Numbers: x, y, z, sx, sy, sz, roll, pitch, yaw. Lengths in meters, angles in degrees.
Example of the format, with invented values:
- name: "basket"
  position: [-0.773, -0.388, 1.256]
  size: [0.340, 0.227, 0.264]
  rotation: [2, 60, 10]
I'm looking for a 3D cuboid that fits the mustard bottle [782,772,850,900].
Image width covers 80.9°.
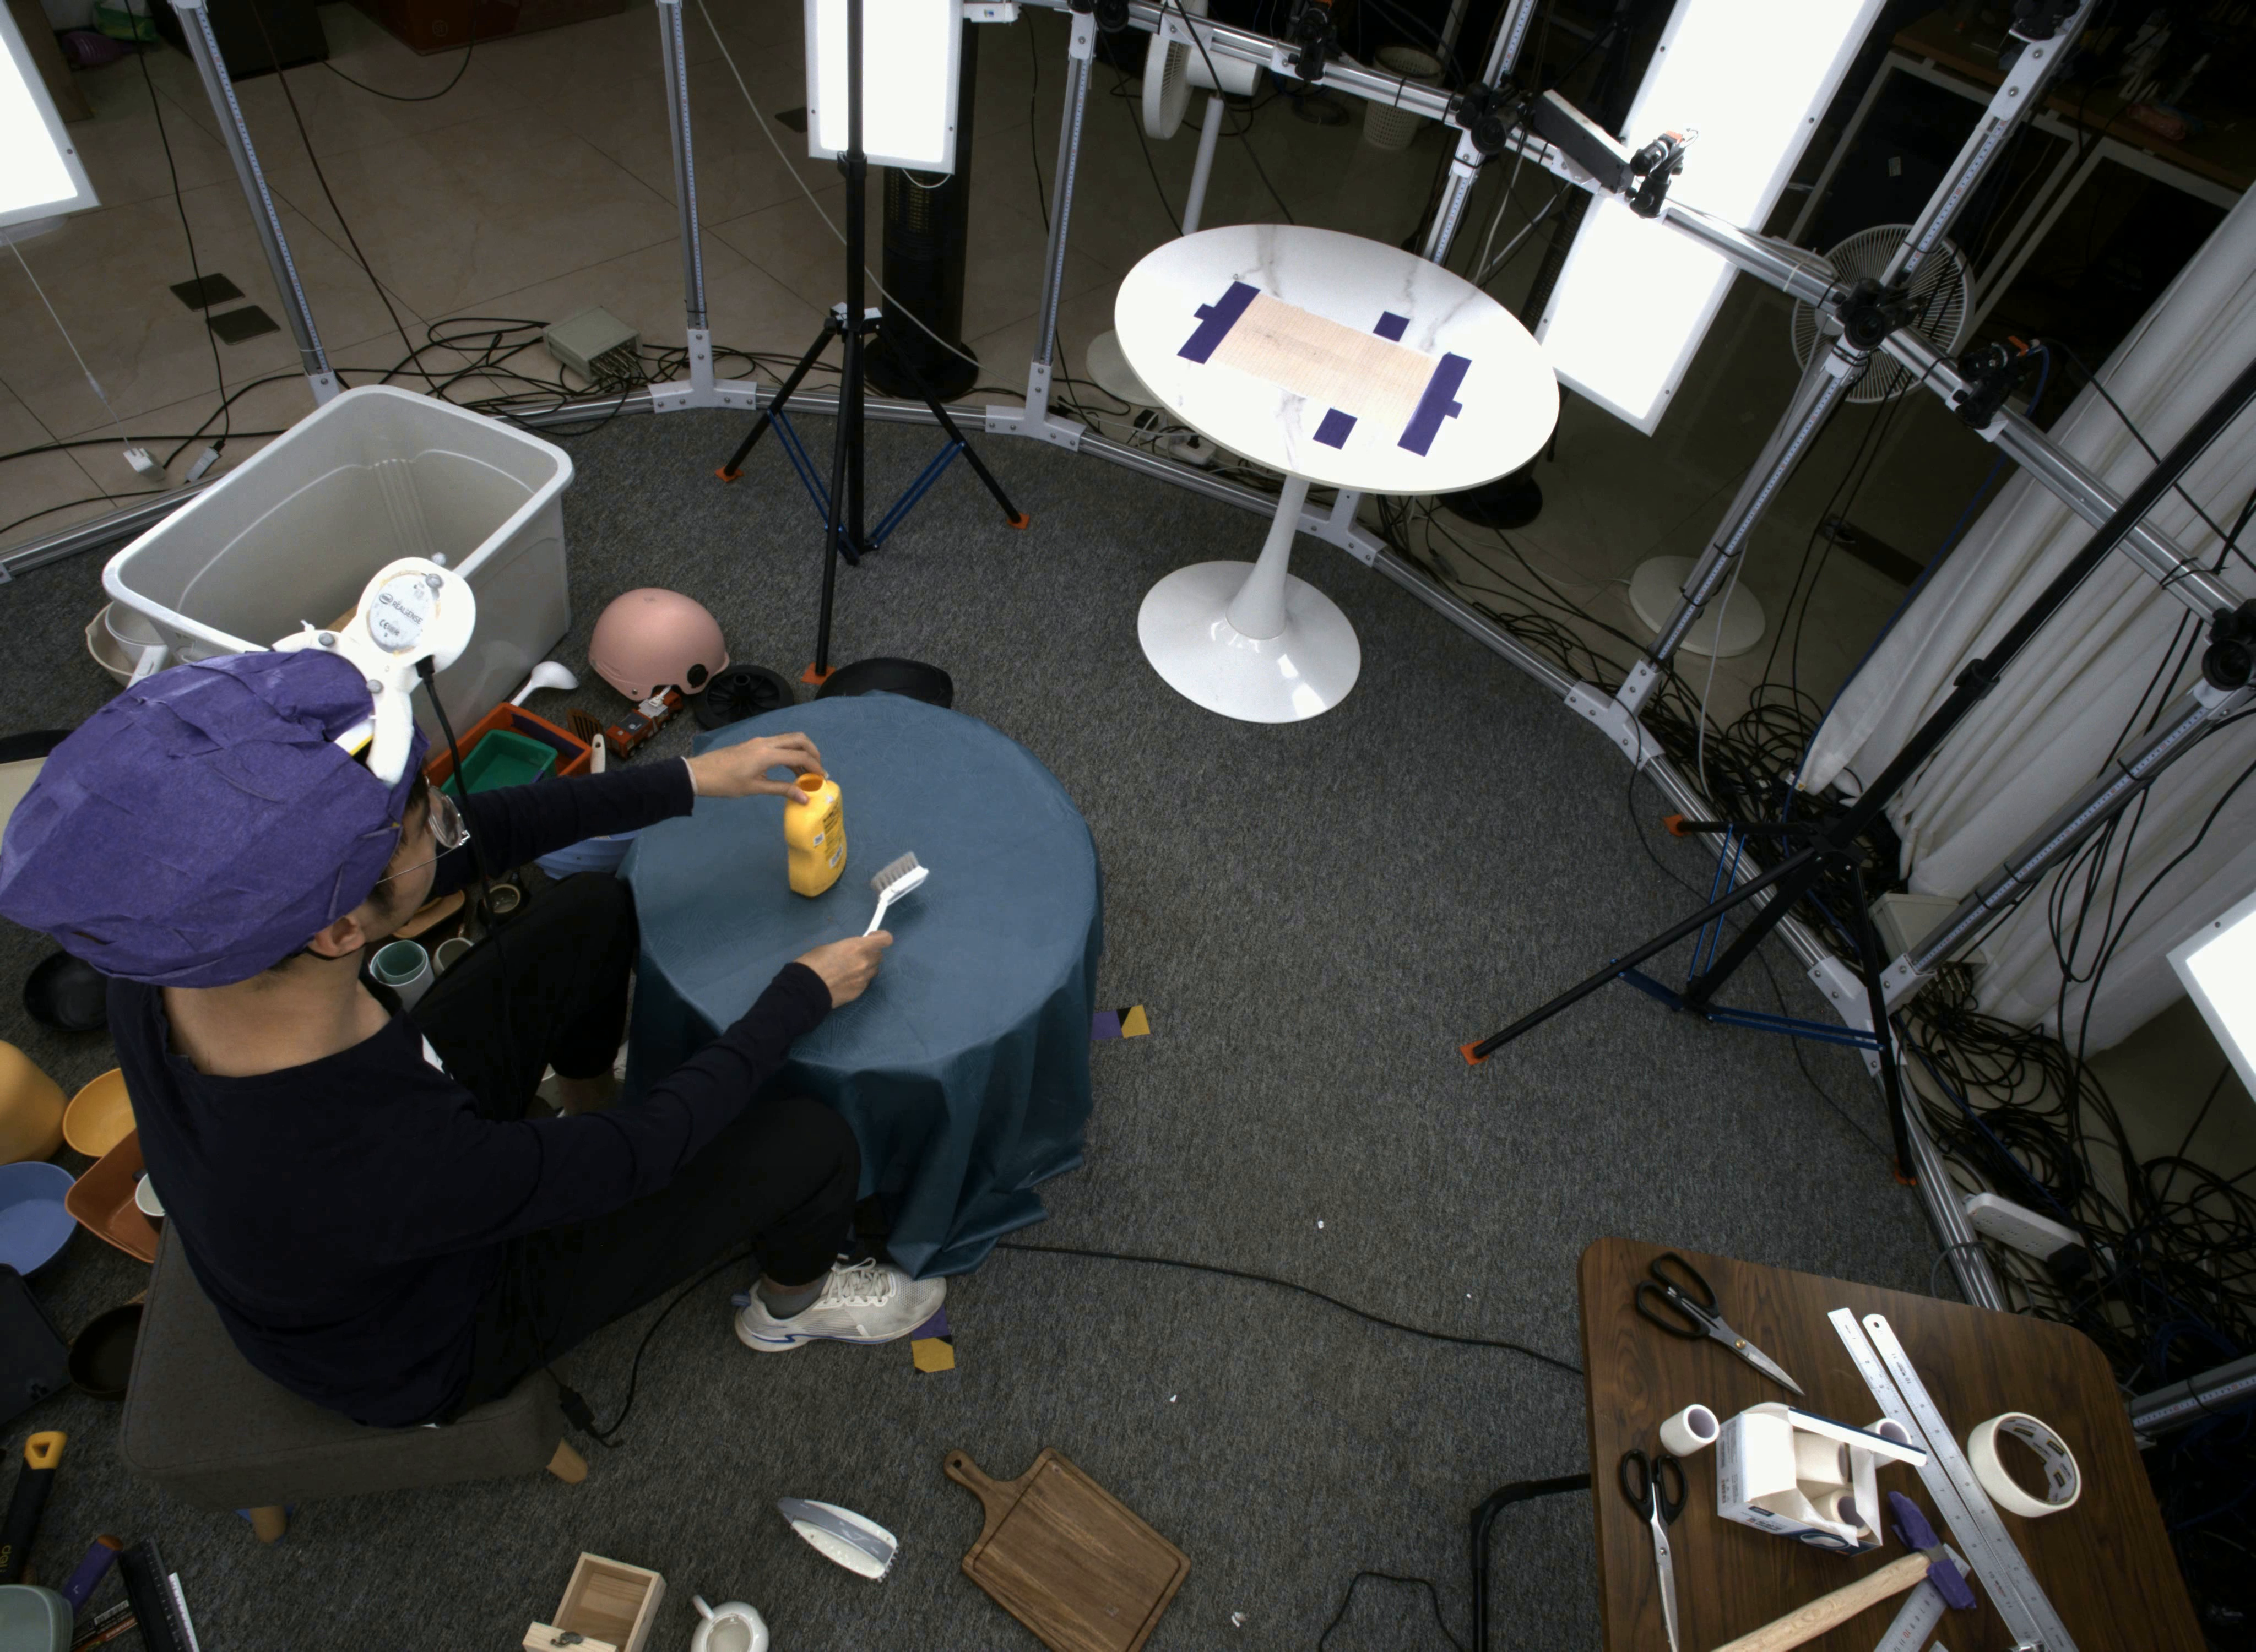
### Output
- name: "mustard bottle"
  position: [-0.391, 0.004, 1.619]
  size: [0.058, 0.177, 0.097]
  rotation: [15, 51, 9]

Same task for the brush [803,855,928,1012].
- name: "brush"
  position: [-0.332, 0.124, 1.603]
  size: [0.051, 0.033, 0.243]
  rotation: [52, 55, -21]
